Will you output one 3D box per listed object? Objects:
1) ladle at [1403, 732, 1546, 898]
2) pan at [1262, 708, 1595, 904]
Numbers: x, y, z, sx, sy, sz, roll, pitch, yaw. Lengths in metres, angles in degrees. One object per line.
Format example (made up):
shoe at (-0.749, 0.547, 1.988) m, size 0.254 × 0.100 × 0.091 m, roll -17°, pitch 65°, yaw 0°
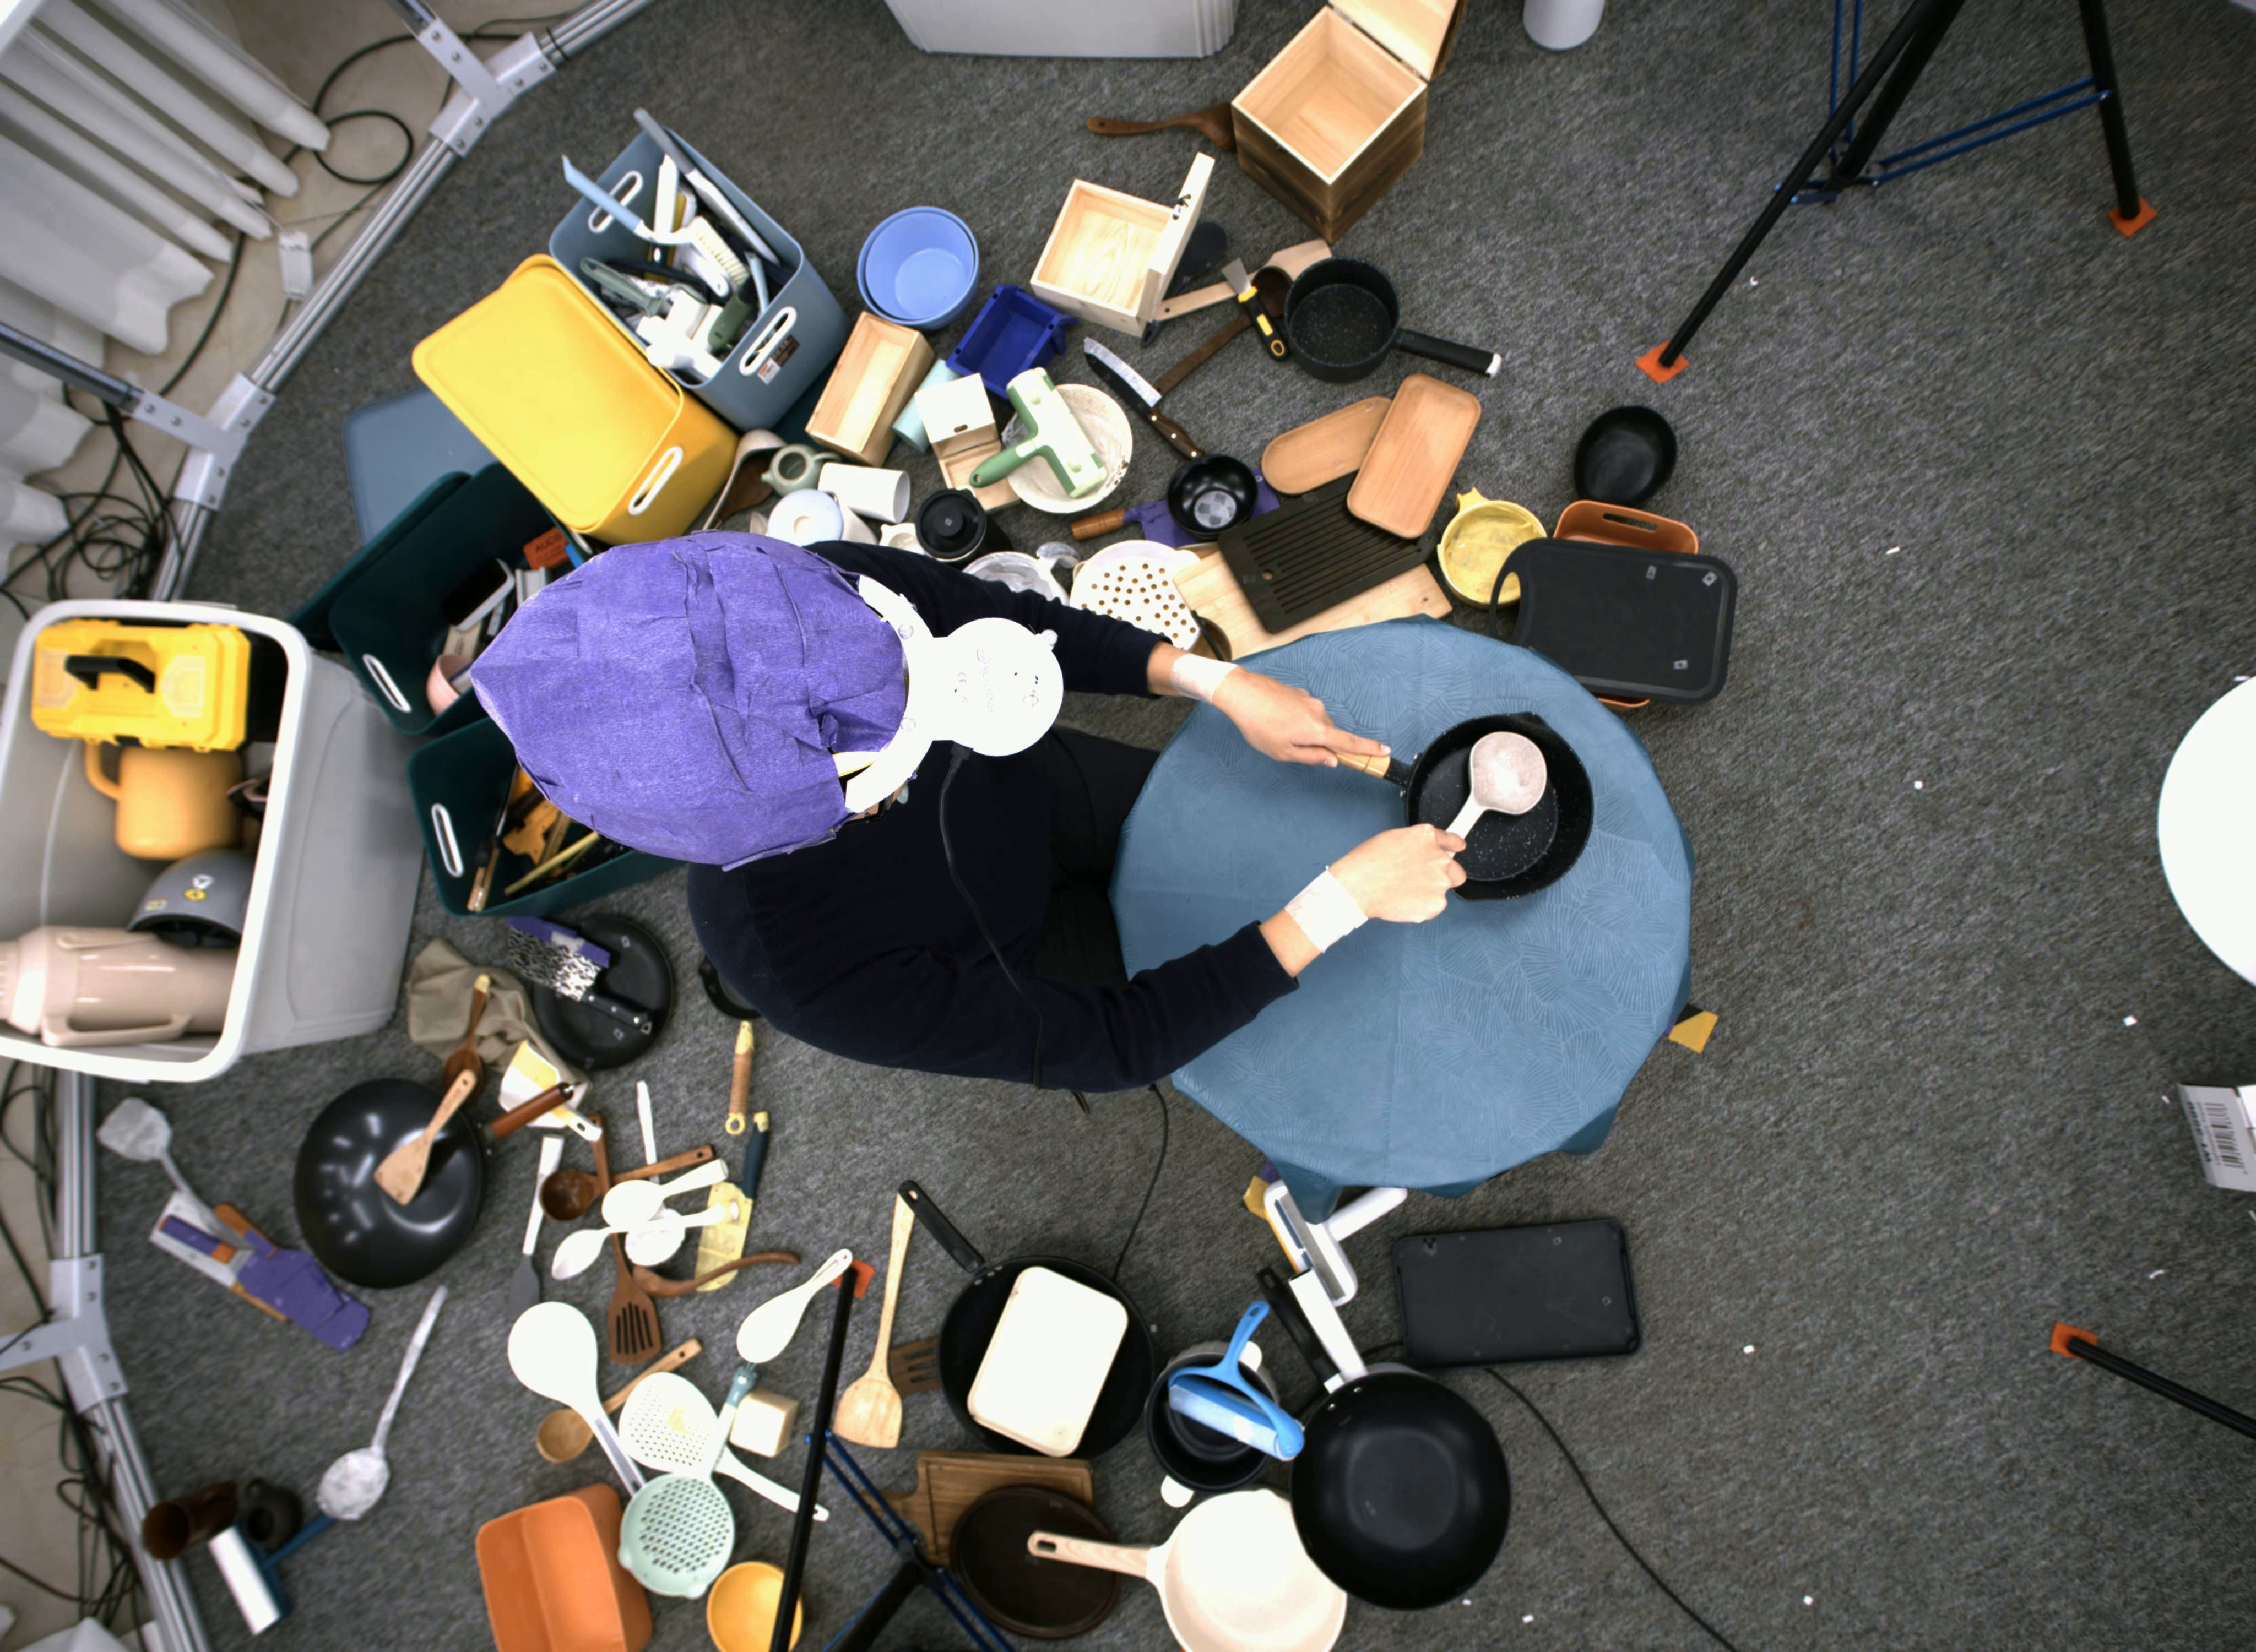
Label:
ladle at (0.337, -0.011, 1.325) m, size 0.071 × 0.268 × 0.089 m, roll -28°, pitch 98°, yaw 39°
pan at (0.296, -0.045, 1.396) m, size 0.343 × 0.108 × 0.208 m, roll 19°, pitch 93°, yaw 5°
